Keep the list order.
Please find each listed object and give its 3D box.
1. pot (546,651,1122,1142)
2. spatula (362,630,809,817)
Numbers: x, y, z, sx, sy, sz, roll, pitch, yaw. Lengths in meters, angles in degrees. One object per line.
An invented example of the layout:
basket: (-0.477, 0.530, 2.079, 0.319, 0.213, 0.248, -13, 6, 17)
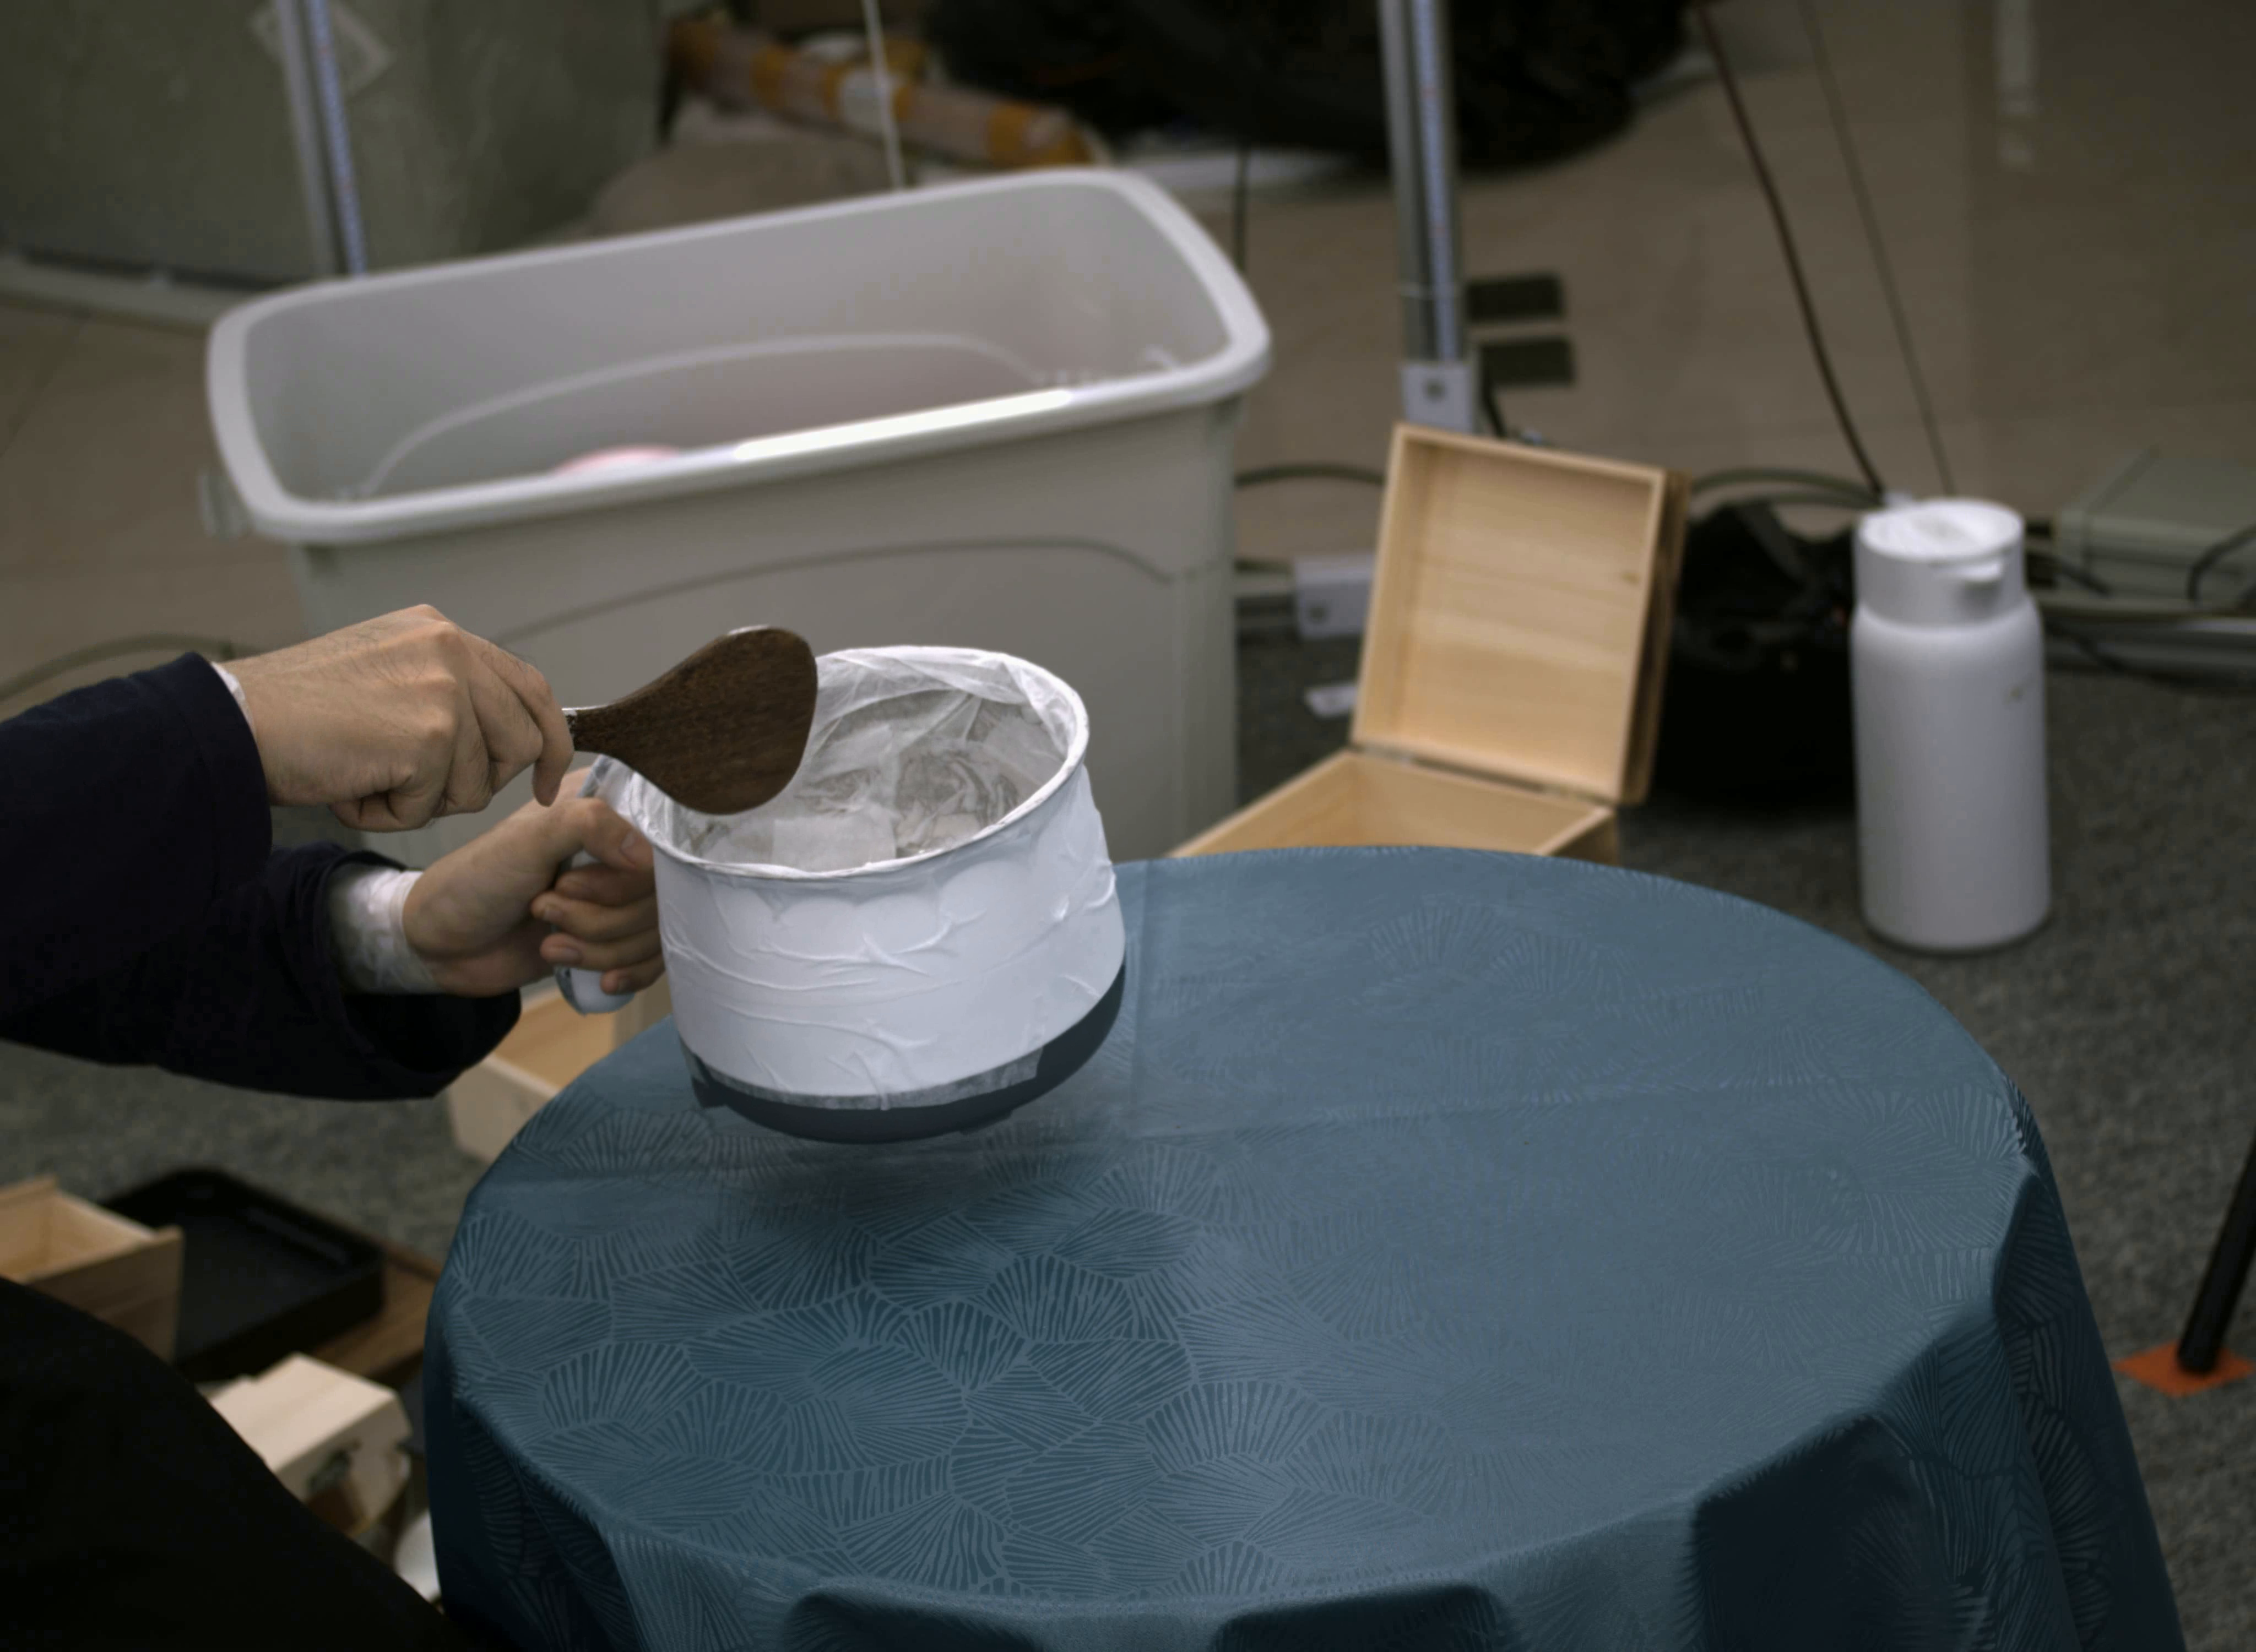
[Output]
pot: (-0.119, 0.028, 2.179, 0.233, 0.139, 0.176, 3, 29, 18)
spatula: (-0.194, -0.037, 2.058, 0.009, 0.072, 0.215, 23, 17, 41)
